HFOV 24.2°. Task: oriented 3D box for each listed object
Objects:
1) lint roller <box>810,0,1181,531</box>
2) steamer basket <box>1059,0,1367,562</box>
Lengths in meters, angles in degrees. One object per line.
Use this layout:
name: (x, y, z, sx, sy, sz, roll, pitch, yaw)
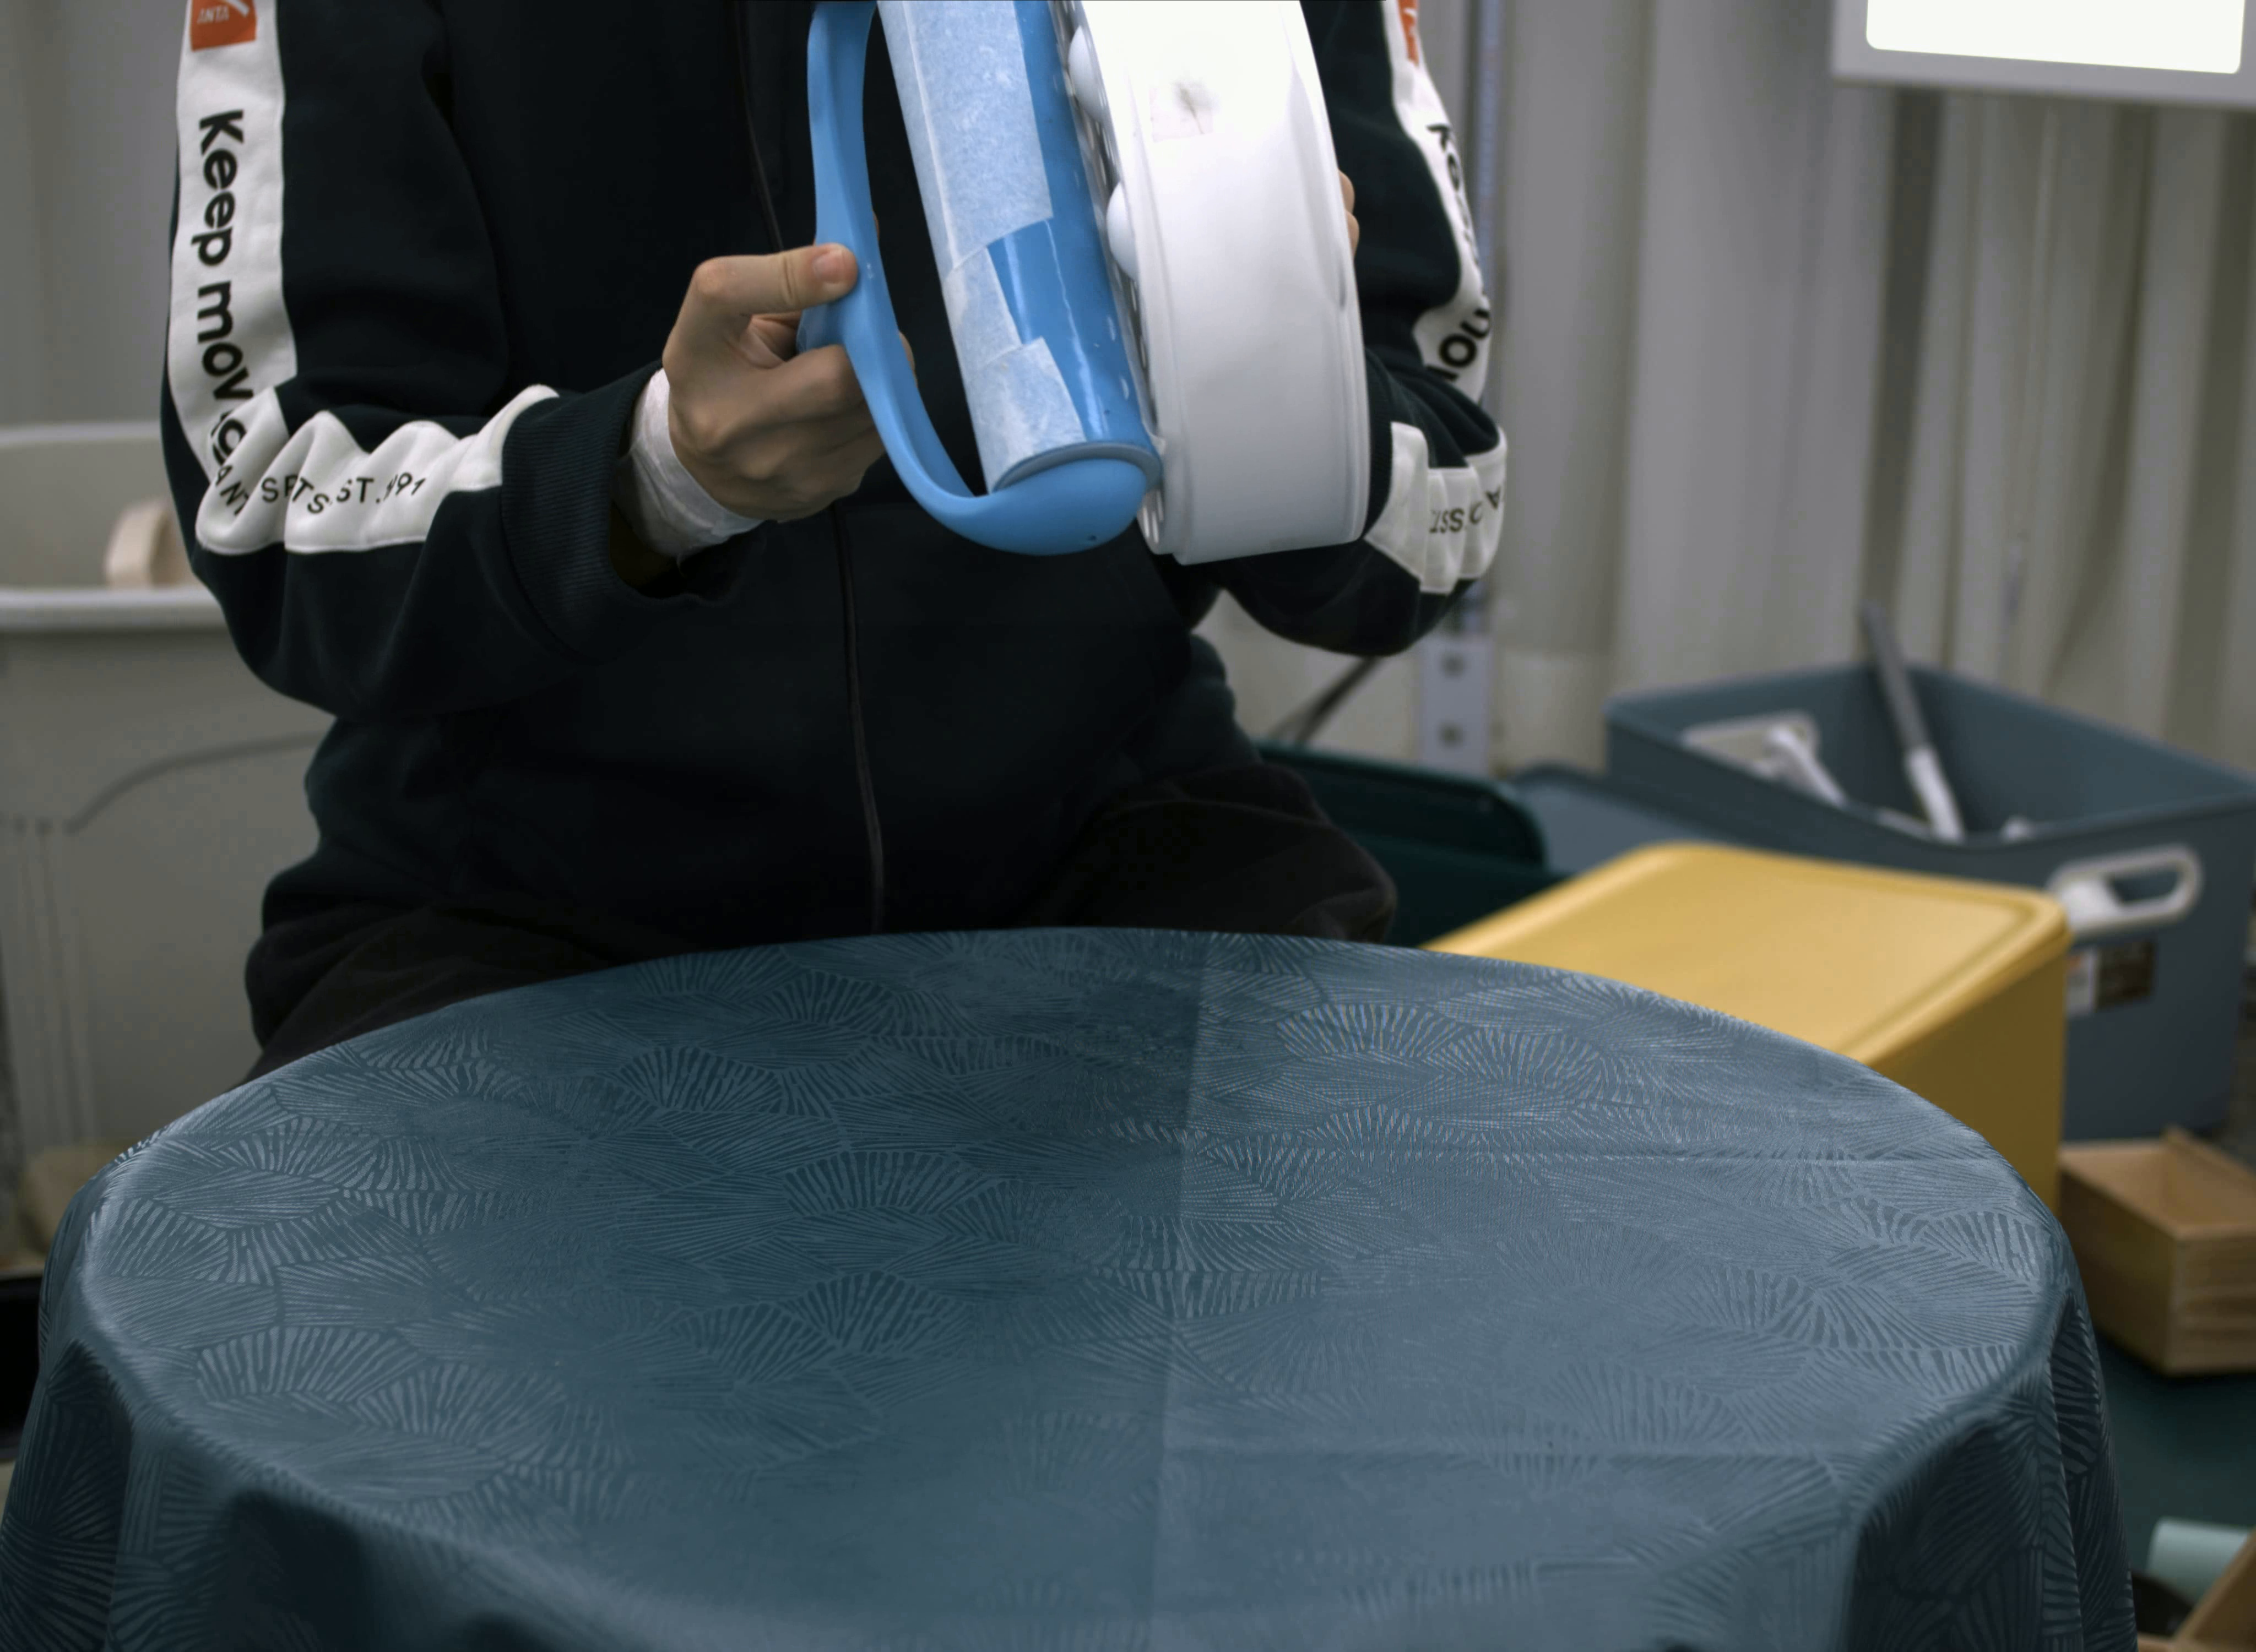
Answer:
lint roller: (-0.064, -0.165, 1.636, 0.068, 0.227, 0.180, 0, -29, -36)
steamer basket: (0.022, -0.181, 1.626, 0.069, 0.202, 0.230, -8, -2, -6)
